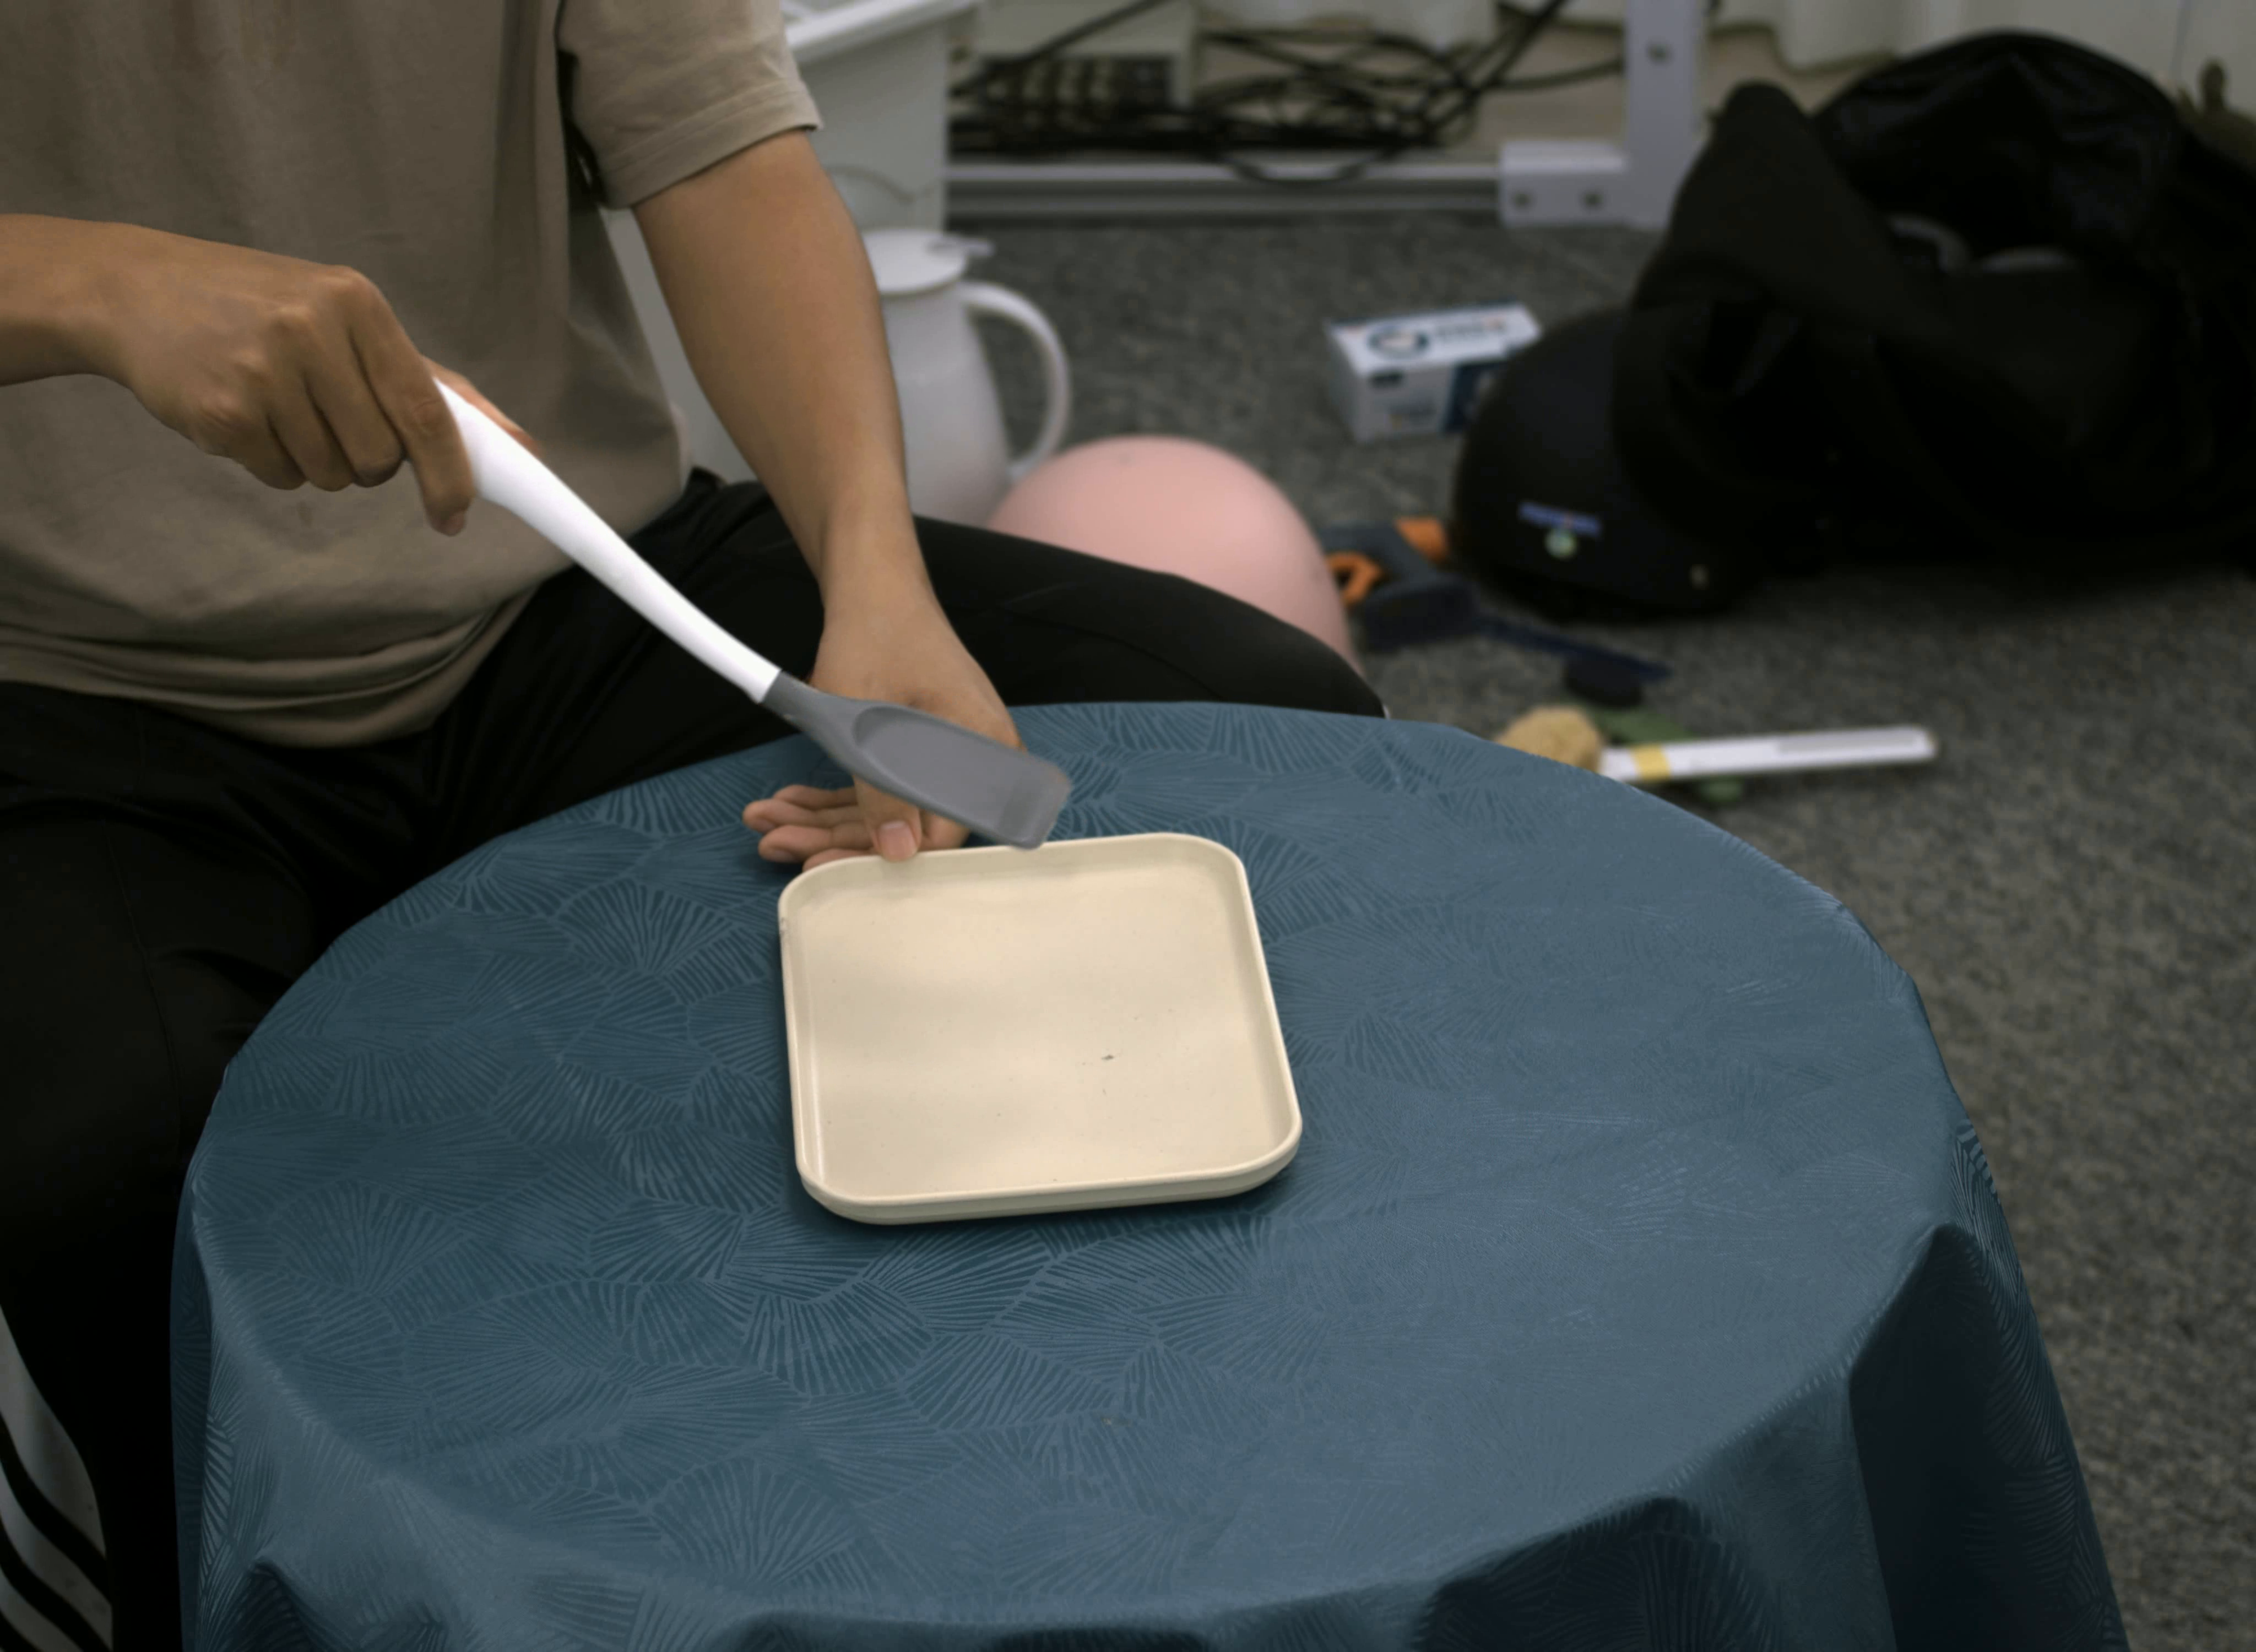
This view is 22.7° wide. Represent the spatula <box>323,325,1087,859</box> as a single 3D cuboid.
[{"bbox_3d":[-0.141,-0.074,1.883,0.287,0.032,0.059,34,29,-4],"label":"spatula"}]

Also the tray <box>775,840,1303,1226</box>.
[{"bbox_3d":[-0.034,0.071,1.944,0.171,0.017,0.243,-4,27,-4],"label":"tray"}]
